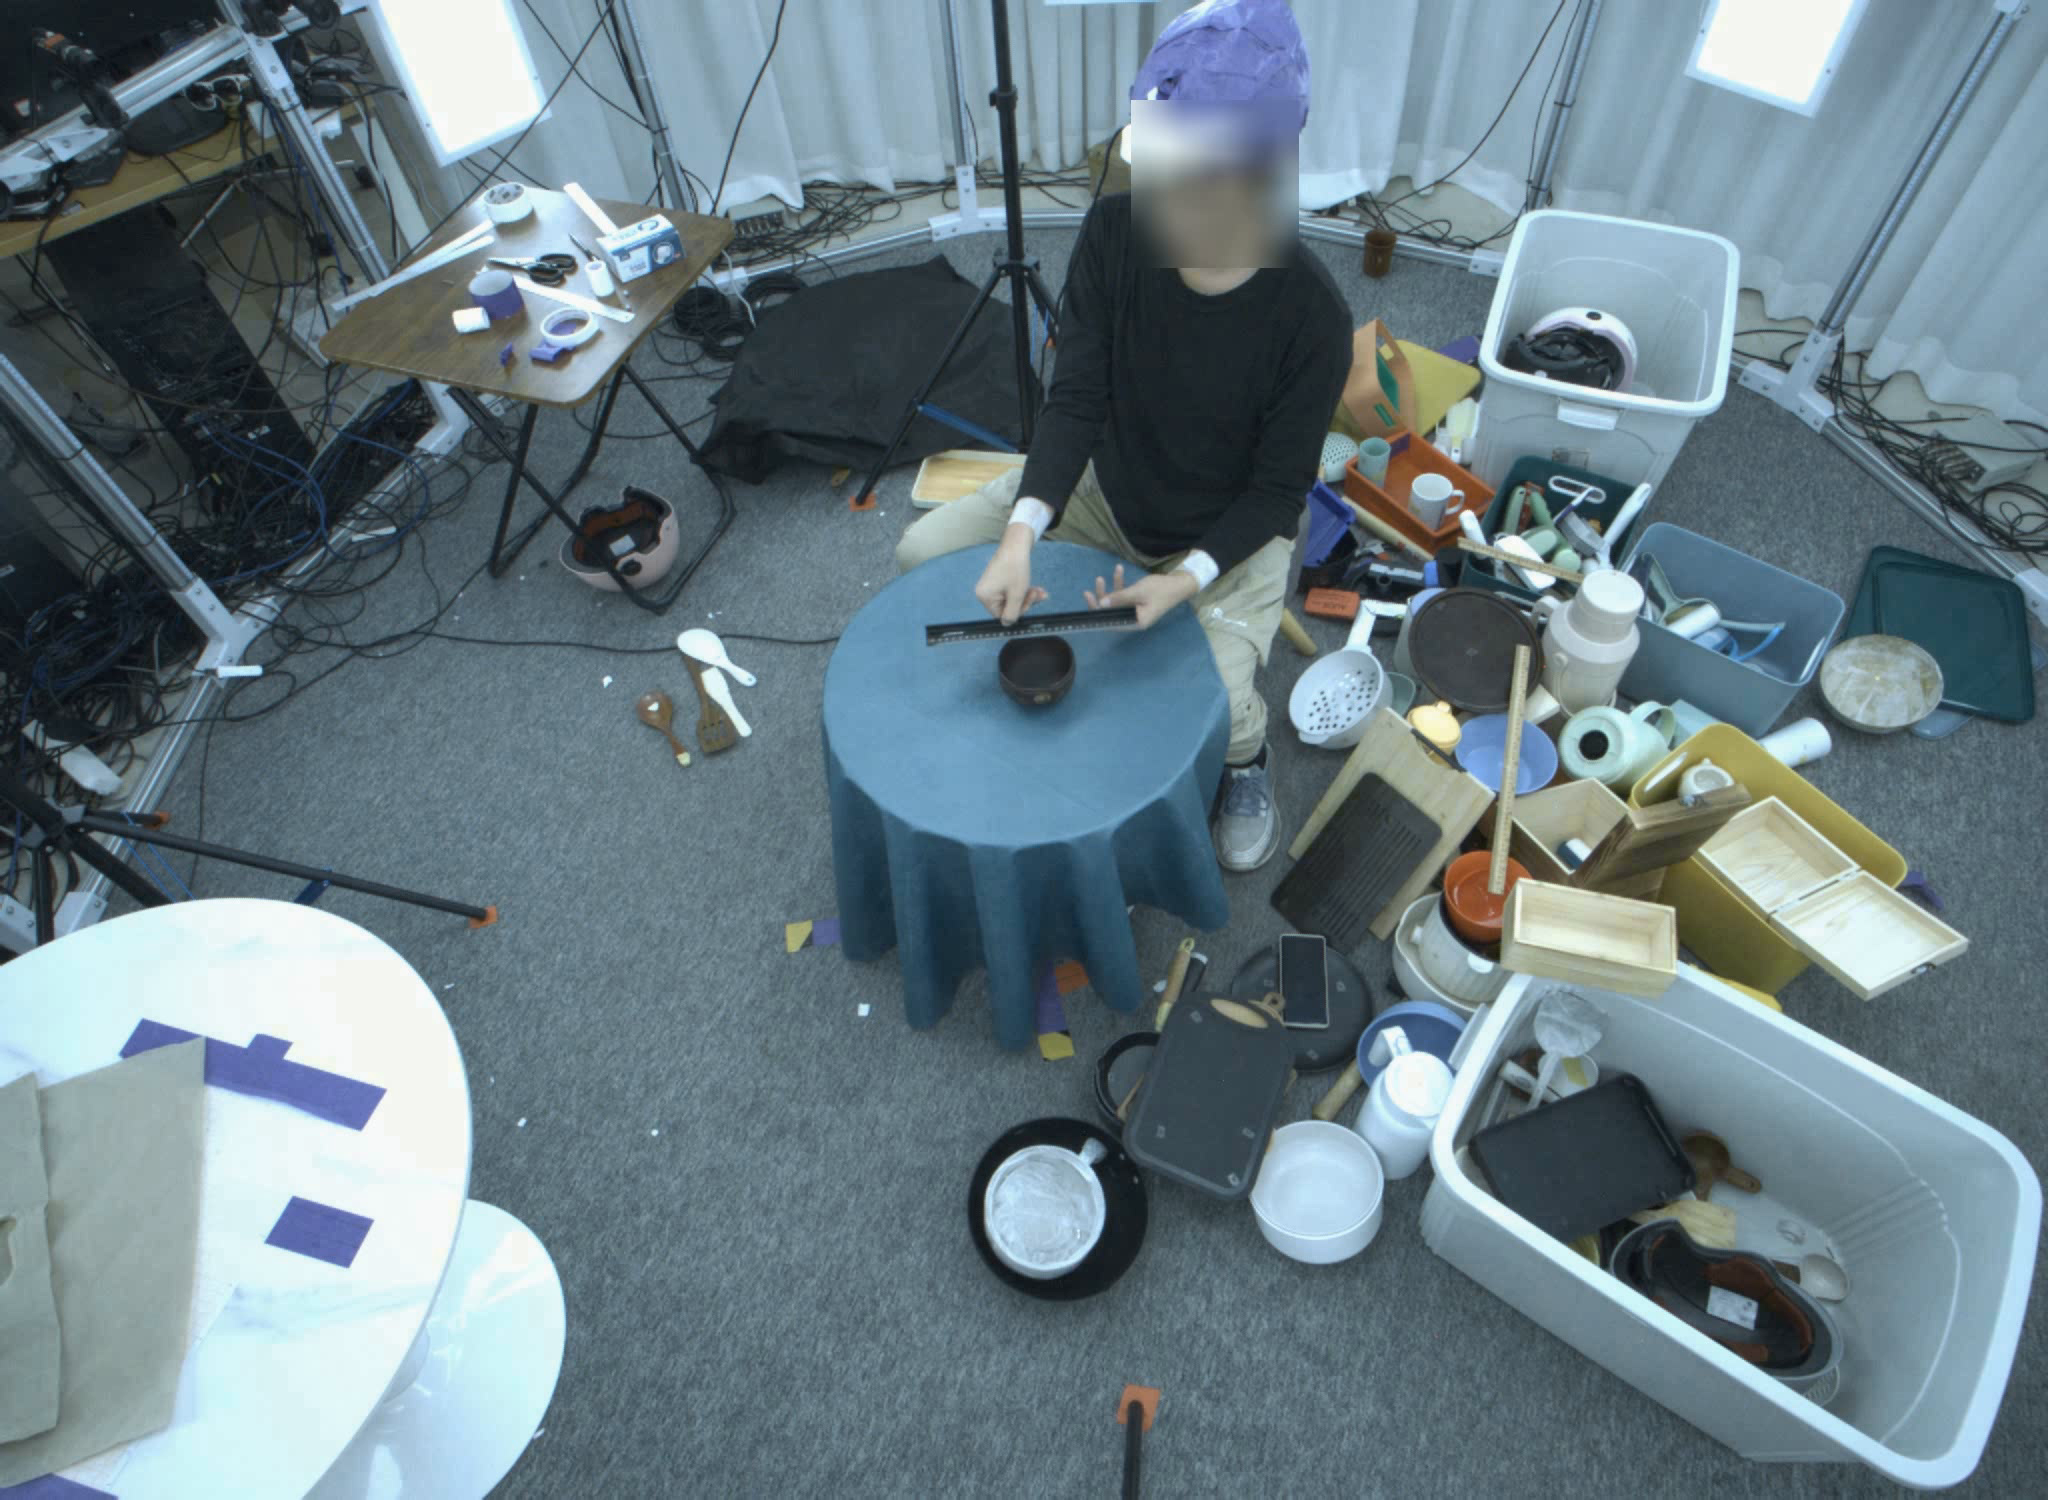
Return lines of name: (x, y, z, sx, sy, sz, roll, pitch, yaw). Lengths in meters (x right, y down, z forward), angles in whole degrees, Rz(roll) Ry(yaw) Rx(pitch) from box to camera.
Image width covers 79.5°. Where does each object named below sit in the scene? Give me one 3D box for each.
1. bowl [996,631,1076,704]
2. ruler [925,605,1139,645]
bowl: (0.019, -0.119, 1.820, 0.118, 0.070, 0.117, -1, 61, 3)
ruler: (0.011, -0.183, 1.791, 0.313, 0.017, 0.039, -6, 48, -3)
